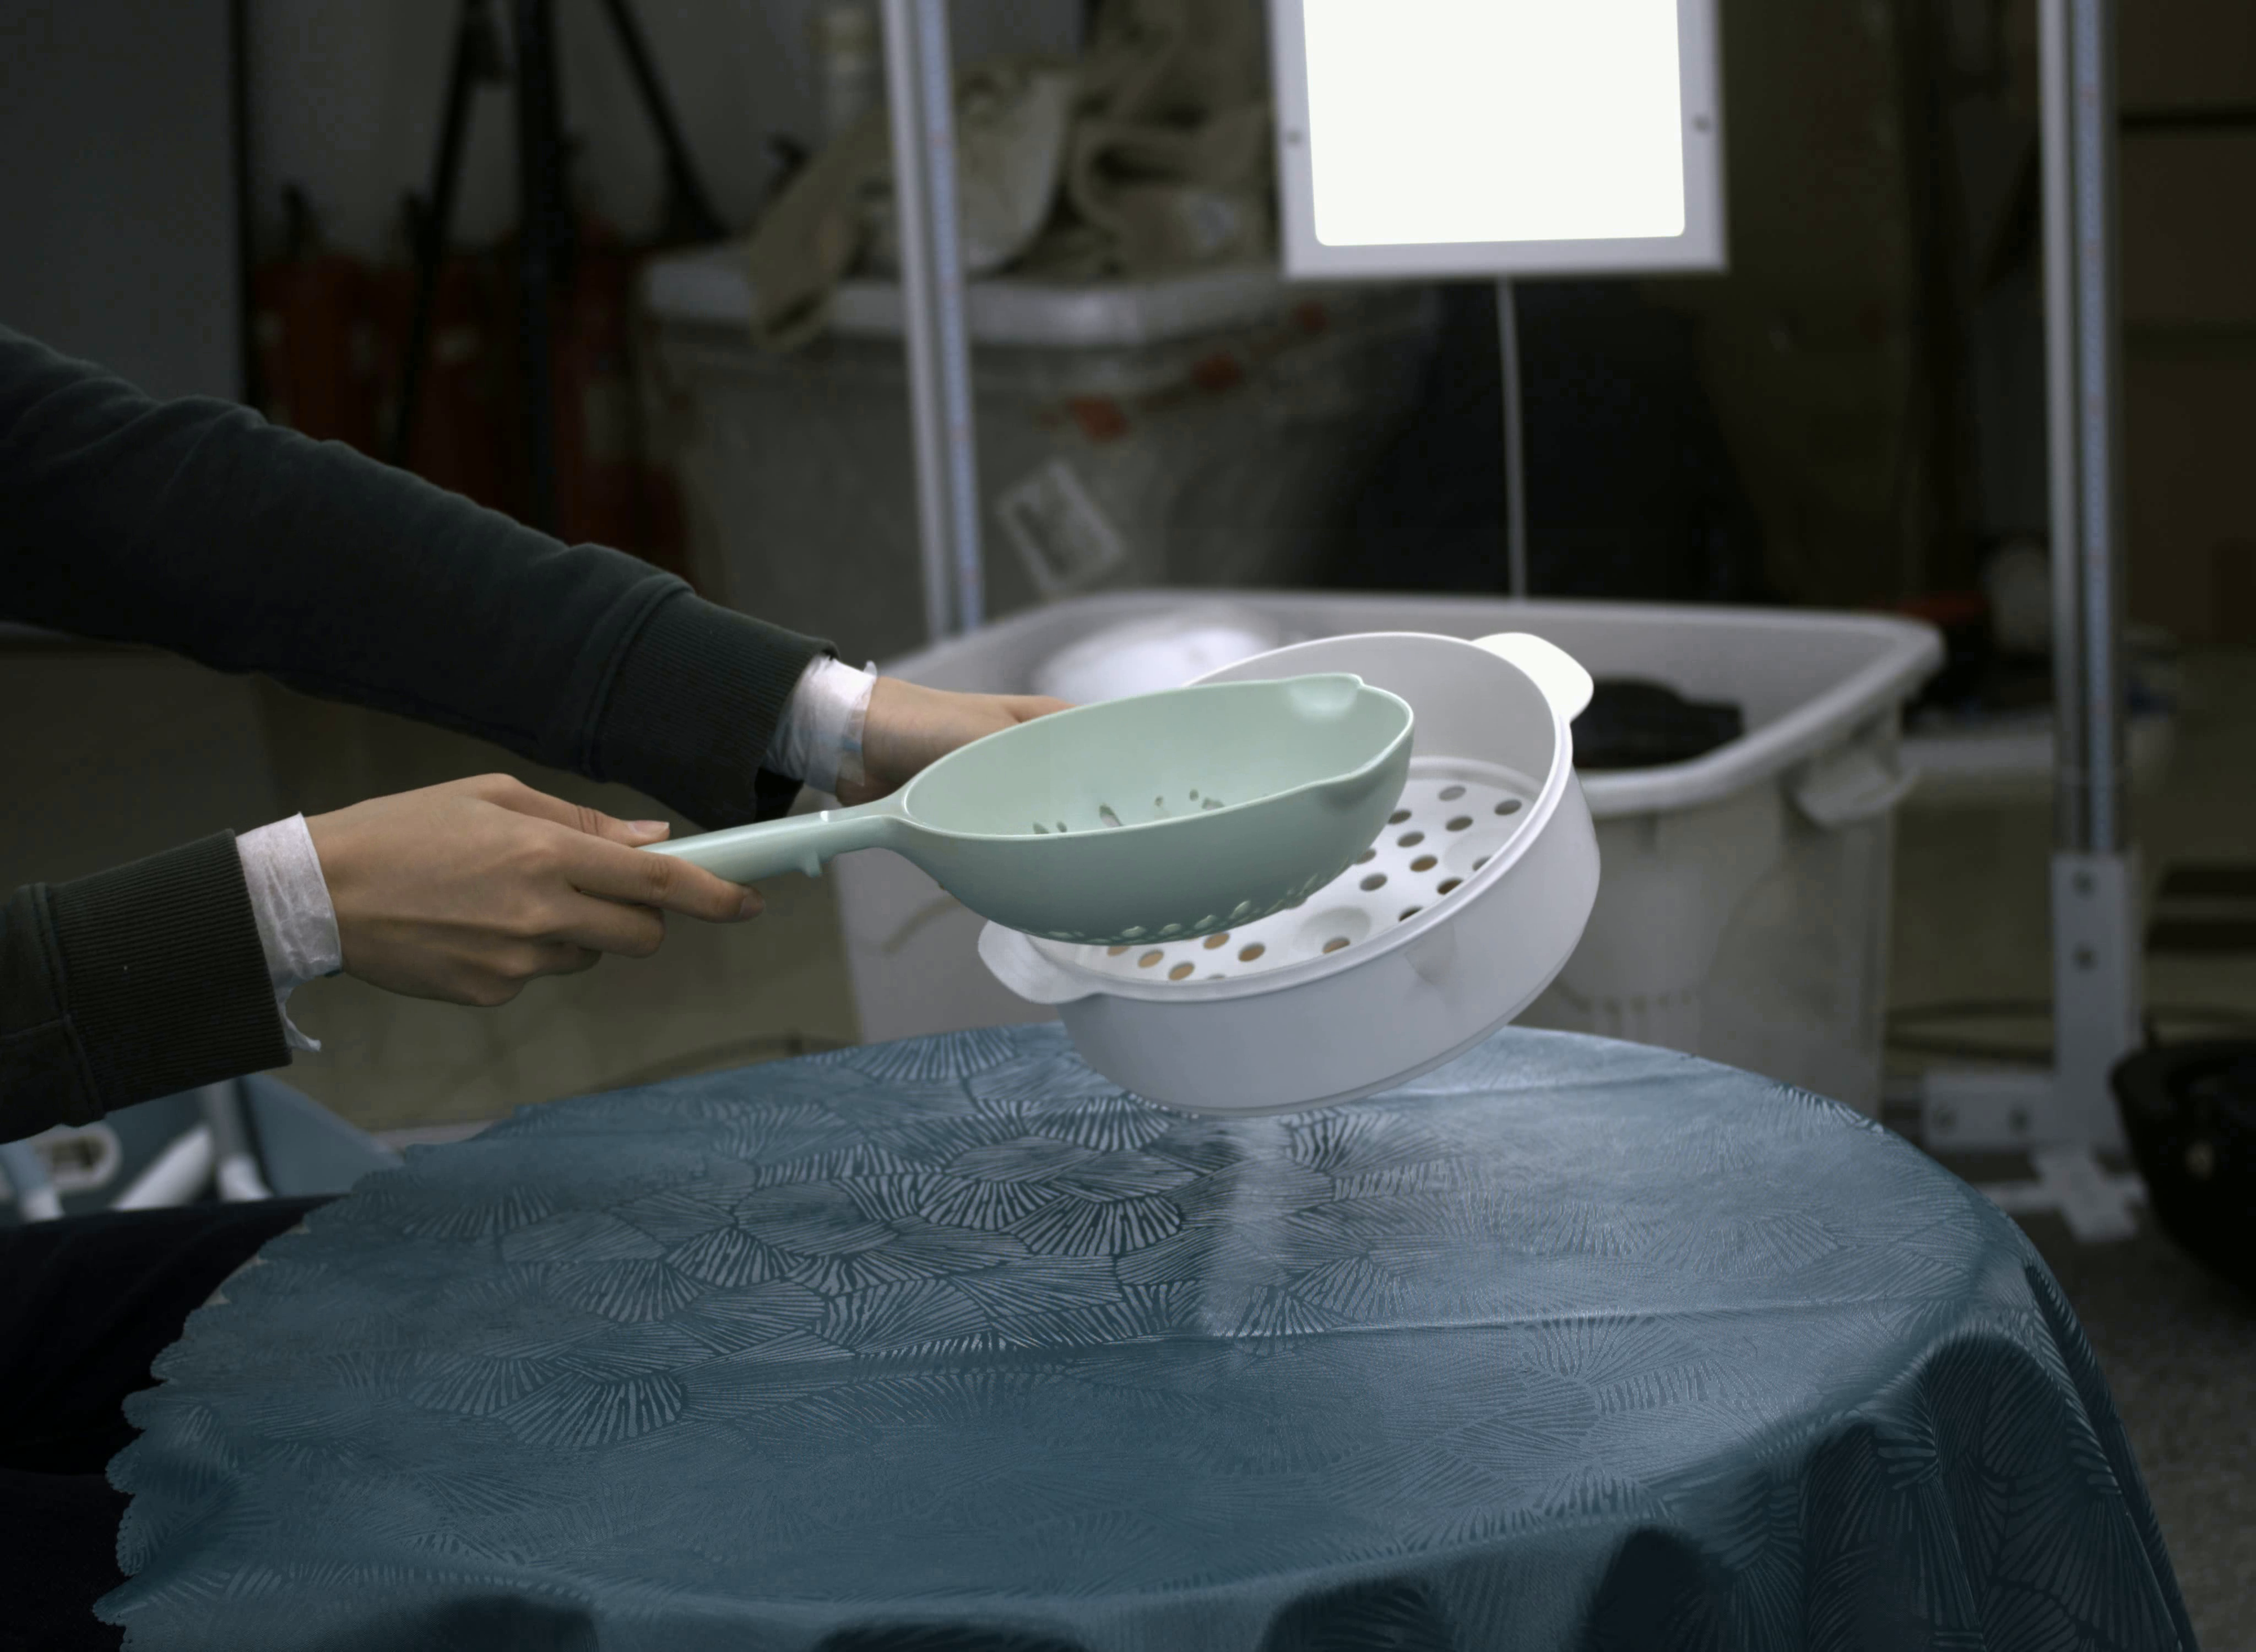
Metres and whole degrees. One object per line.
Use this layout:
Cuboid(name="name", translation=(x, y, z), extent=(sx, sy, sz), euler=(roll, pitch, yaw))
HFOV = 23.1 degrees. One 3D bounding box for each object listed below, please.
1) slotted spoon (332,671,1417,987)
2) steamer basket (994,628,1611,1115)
Cuboid(name="slotted spoon", translation=(-0.083, 0.007, 1.795), extent=(0.358, 0.075, 0.169), euler=(-3, 14, 0))
Cuboid(name="steamer basket", translation=(0.067, 0.017, 1.876), extent=(0.228, 0.069, 0.204), euler=(-31, 31, -12))
